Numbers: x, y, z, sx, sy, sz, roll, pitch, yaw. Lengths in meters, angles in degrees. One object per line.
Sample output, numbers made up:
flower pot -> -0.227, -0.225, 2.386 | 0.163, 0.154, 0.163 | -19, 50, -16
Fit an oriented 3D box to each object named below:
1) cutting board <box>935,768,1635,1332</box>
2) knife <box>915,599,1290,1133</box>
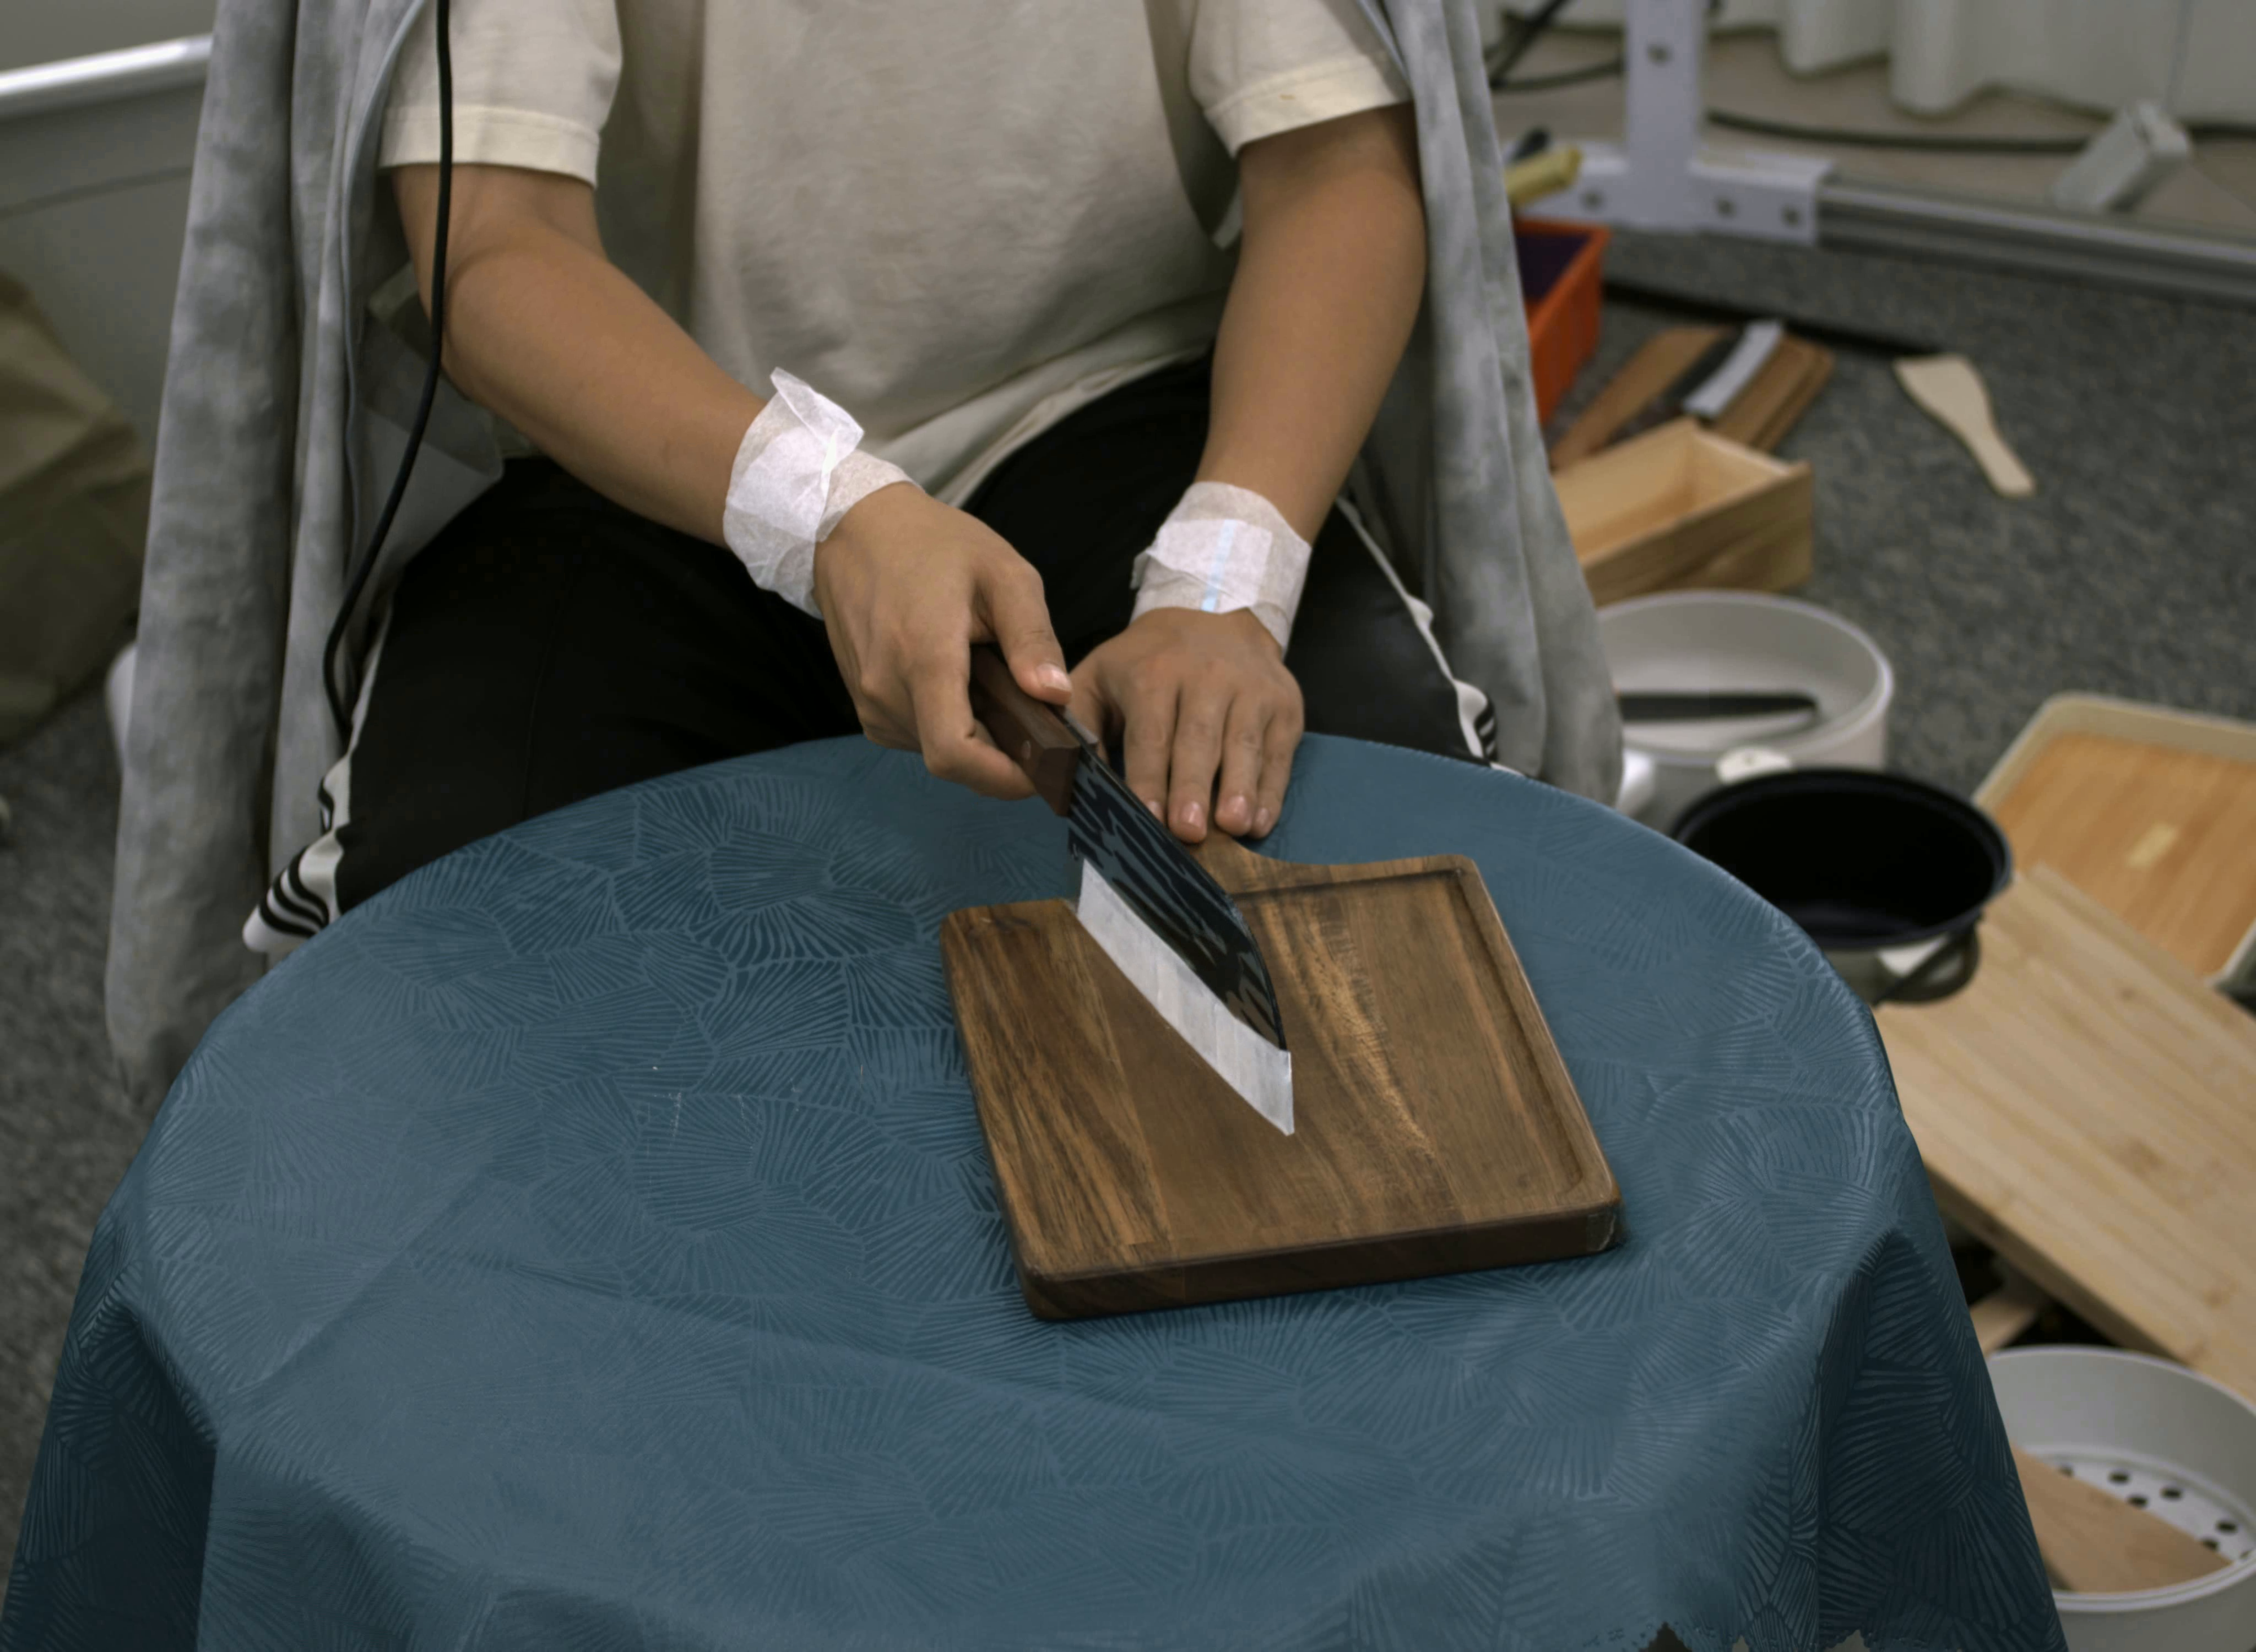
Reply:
cutting board -> 0.040, 0.064, 1.951 | 0.200, 0.023, 0.356 | -8, 27, -6
knife -> -0.009, 0.011, 1.956 | 0.024, 0.067, 0.302 | -7, 31, -25
